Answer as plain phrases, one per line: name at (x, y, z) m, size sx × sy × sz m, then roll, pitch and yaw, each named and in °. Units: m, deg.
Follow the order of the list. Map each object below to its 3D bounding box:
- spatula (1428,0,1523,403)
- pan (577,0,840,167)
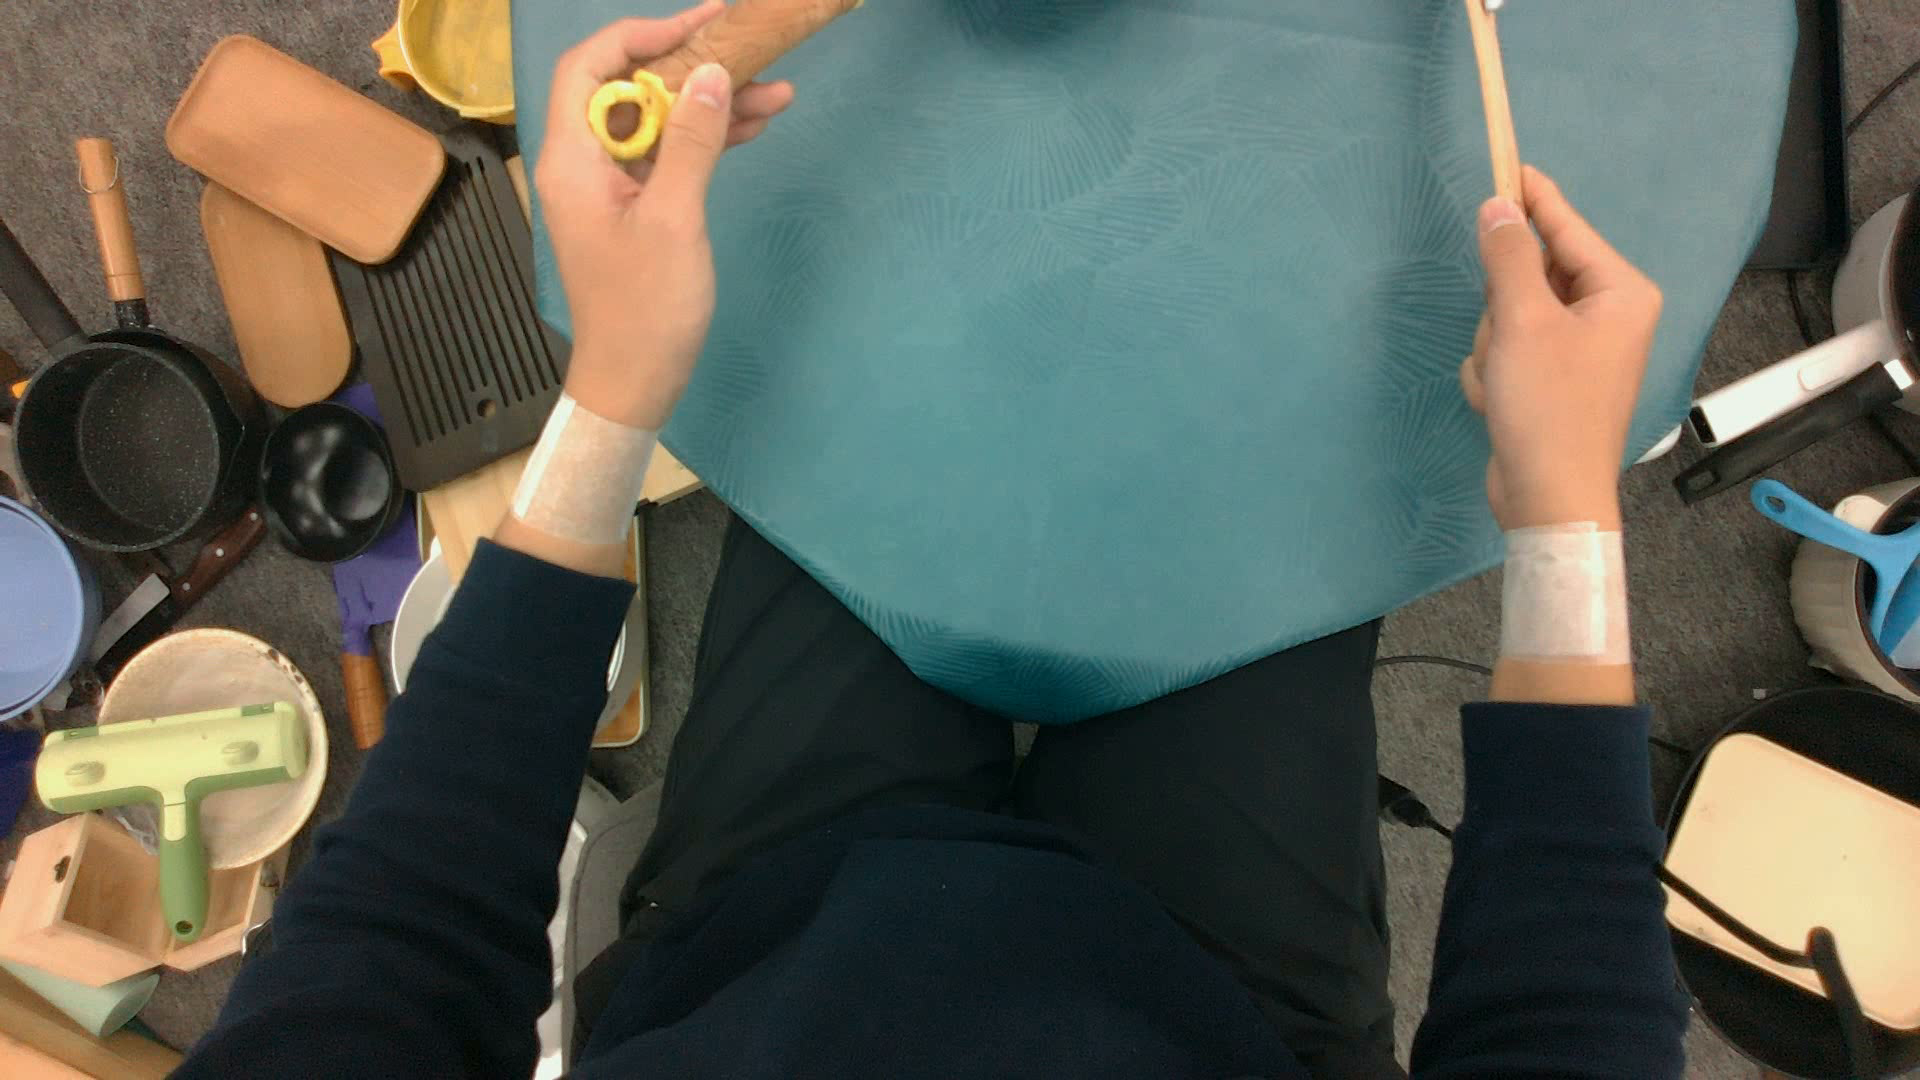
spatula at (0.216, -0.220, 0.597) m, size 0.016 × 0.080 × 0.328 m, roll -14°, pitch 78°, yaw 45°
pan at (-0.040, -0.258, 0.583) m, size 0.169 × 0.049 × 0.325 m, roll 45°, pitch 71°, yaw -2°
